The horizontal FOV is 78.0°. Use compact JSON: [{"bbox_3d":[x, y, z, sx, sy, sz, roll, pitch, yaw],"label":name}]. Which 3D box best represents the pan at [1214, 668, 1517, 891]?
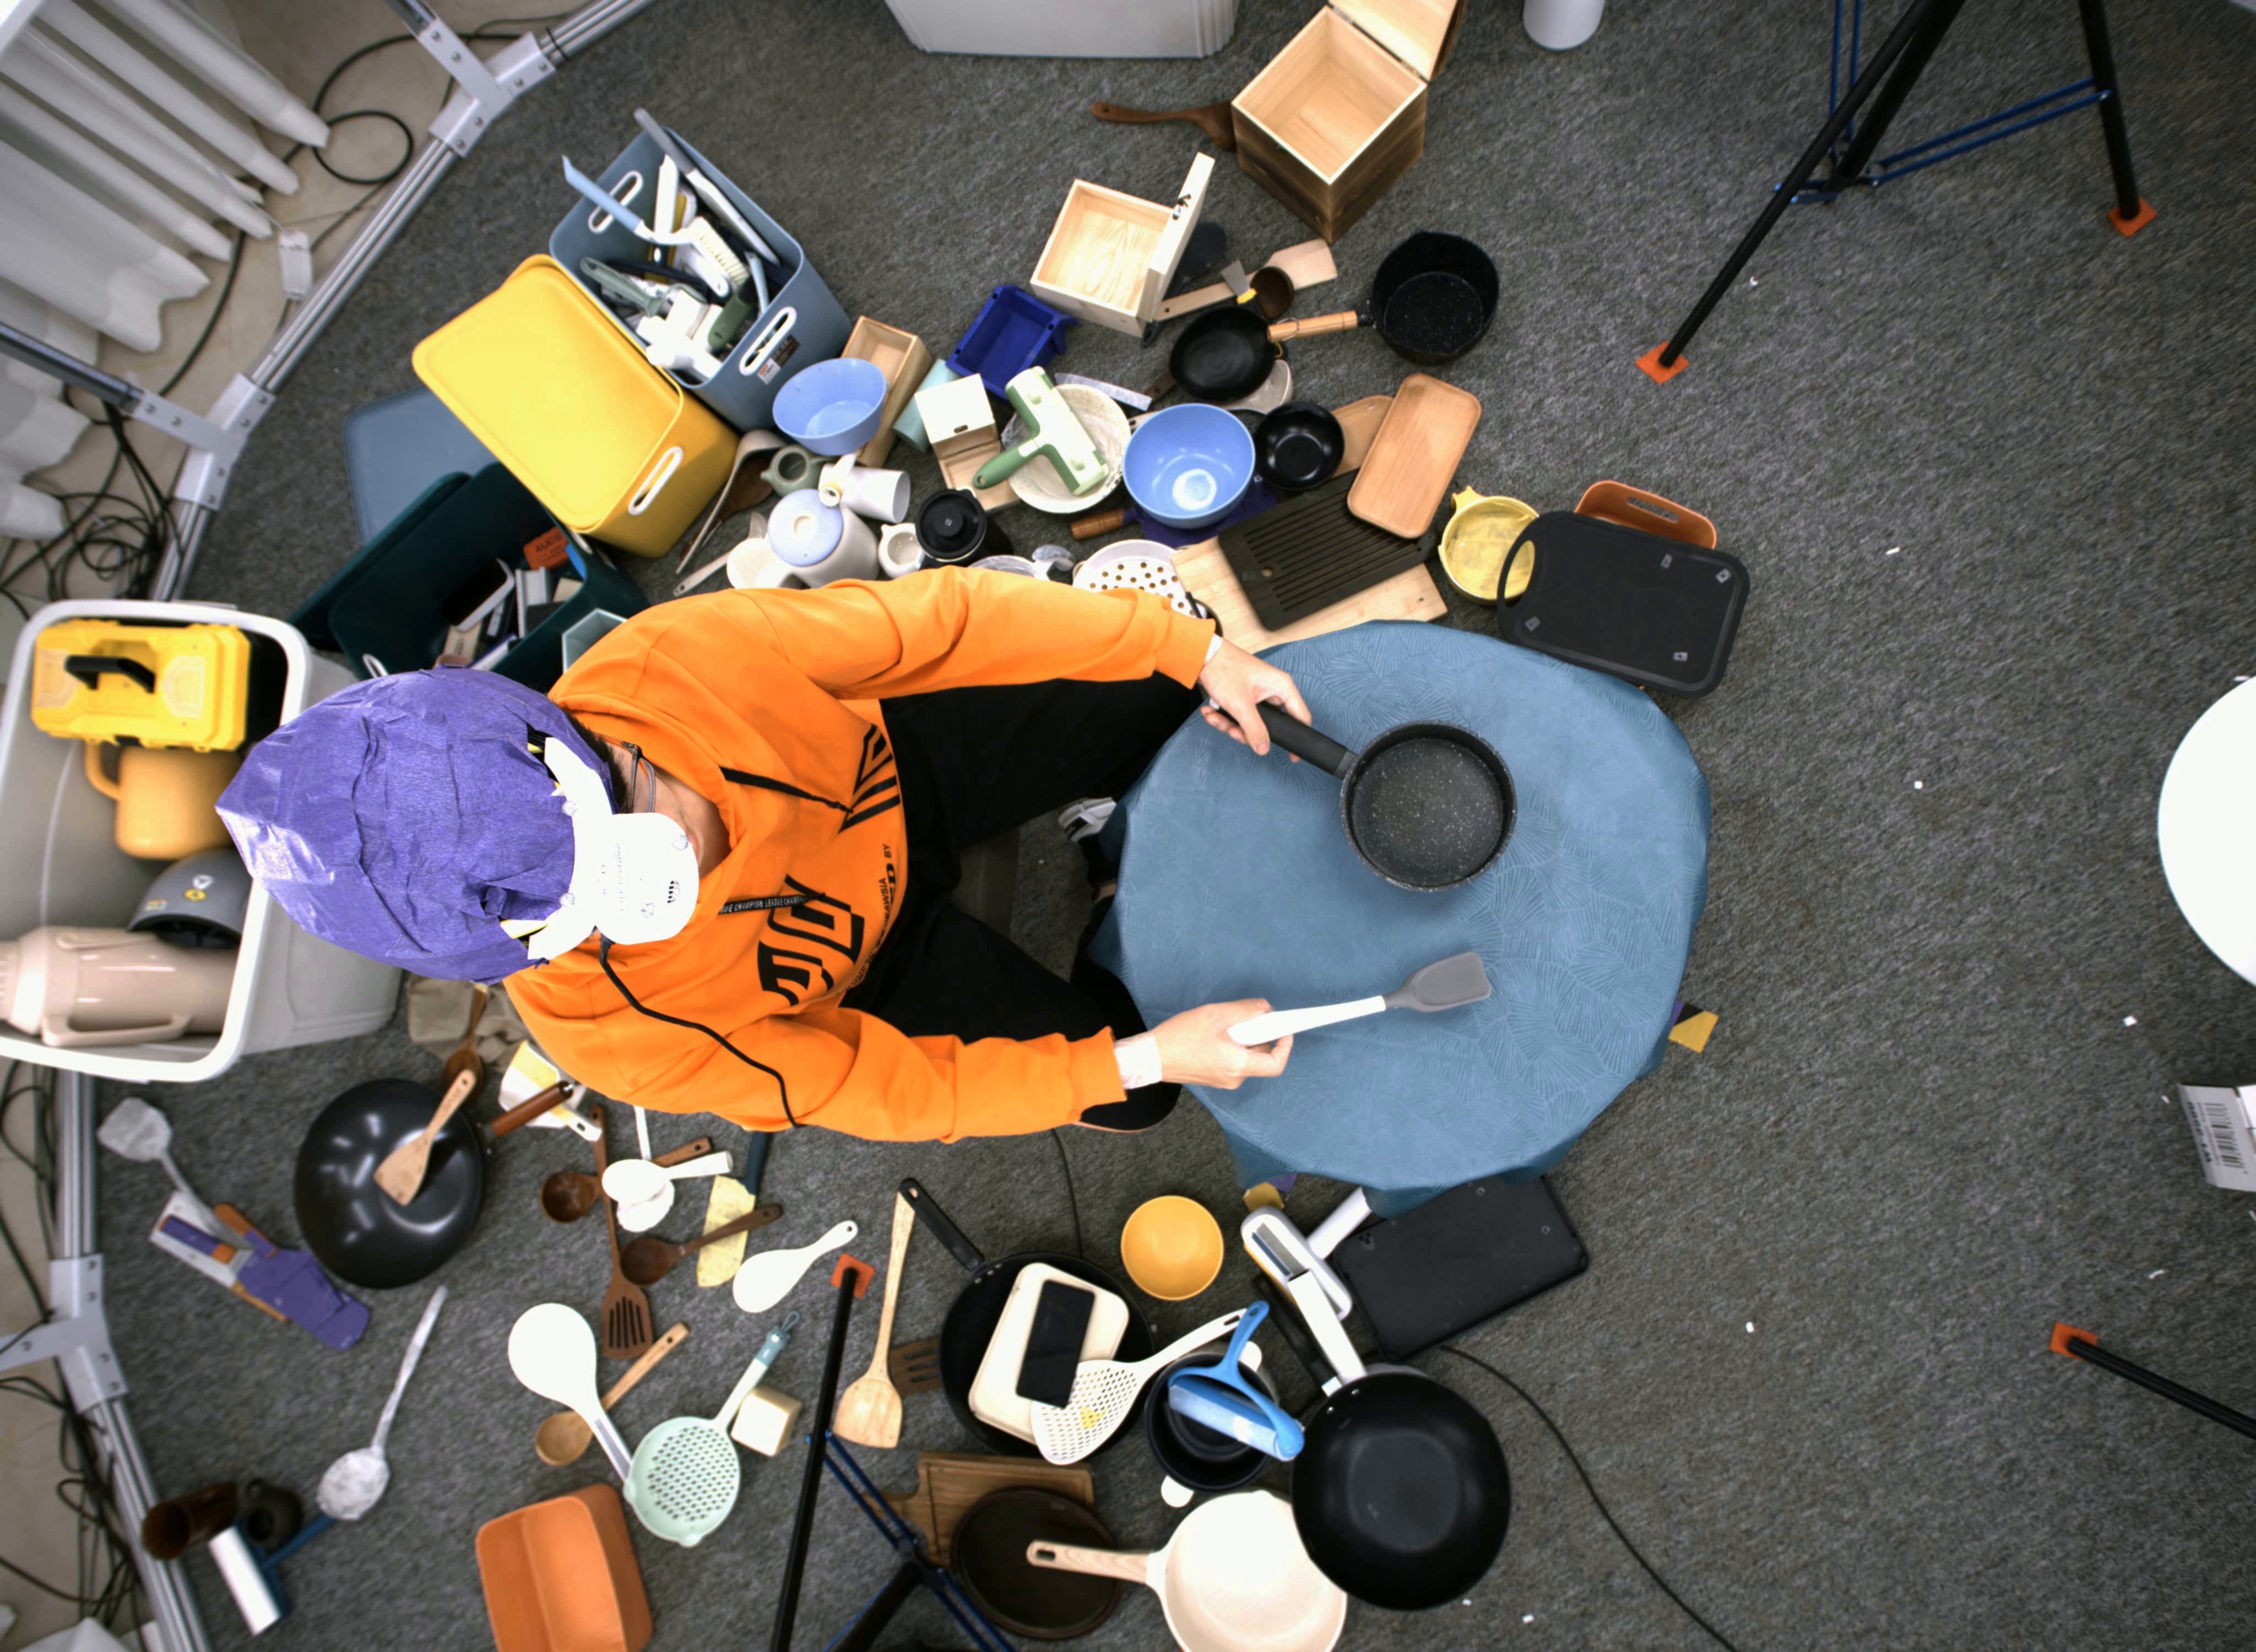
[{"bbox_3d":[0.235,-0.060,1.401,0.328,0.086,0.172,31,93,10],"label":"pan"}]

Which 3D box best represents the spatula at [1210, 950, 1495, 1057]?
[{"bbox_3d":[0.224,0.182,1.390,0.288,0.033,0.057,-13,61,-1],"label":"spatula"}]
